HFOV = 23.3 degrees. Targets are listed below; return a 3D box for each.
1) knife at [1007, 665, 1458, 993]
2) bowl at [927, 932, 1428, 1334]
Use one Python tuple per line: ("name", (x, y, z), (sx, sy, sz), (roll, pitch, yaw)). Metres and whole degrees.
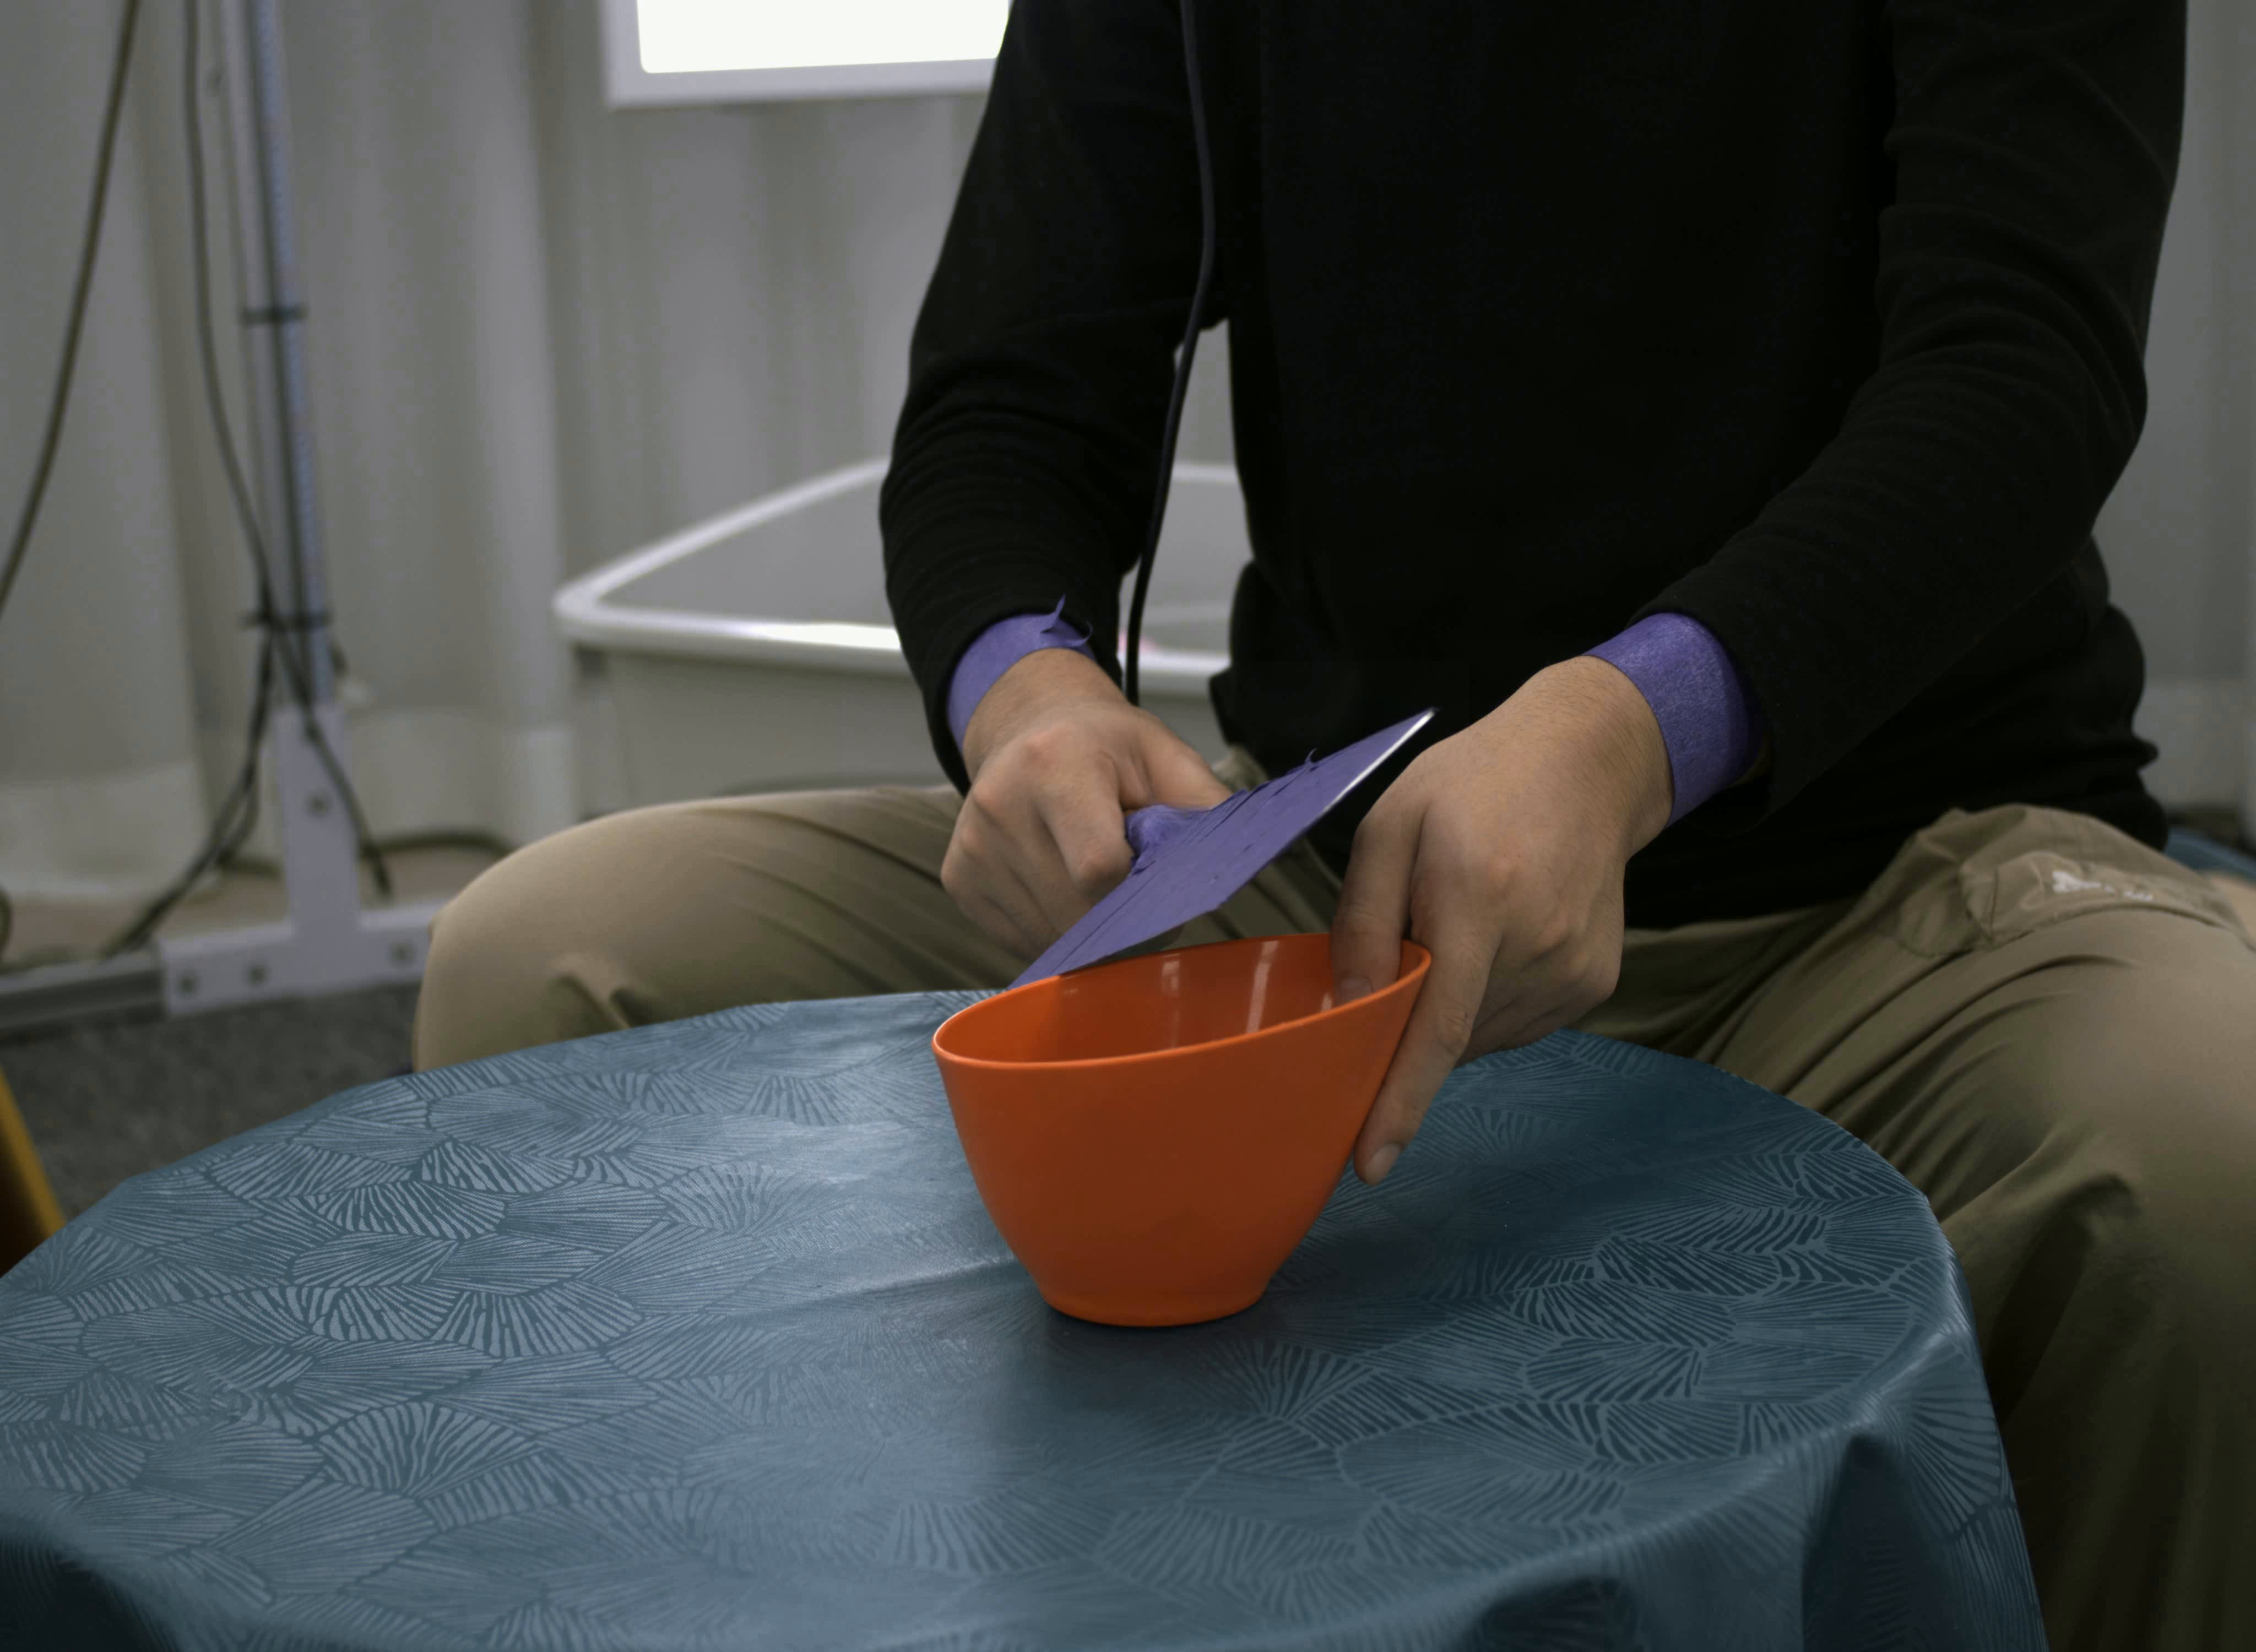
("knife", (0.008, 0.012, 1.687), (0.104, 0.032, 0.314), (-41, 4, -21))
("bowl", (0.015, 0.091, 1.604), (0.147, 0.104, 0.149), (-2, 15, 0))
